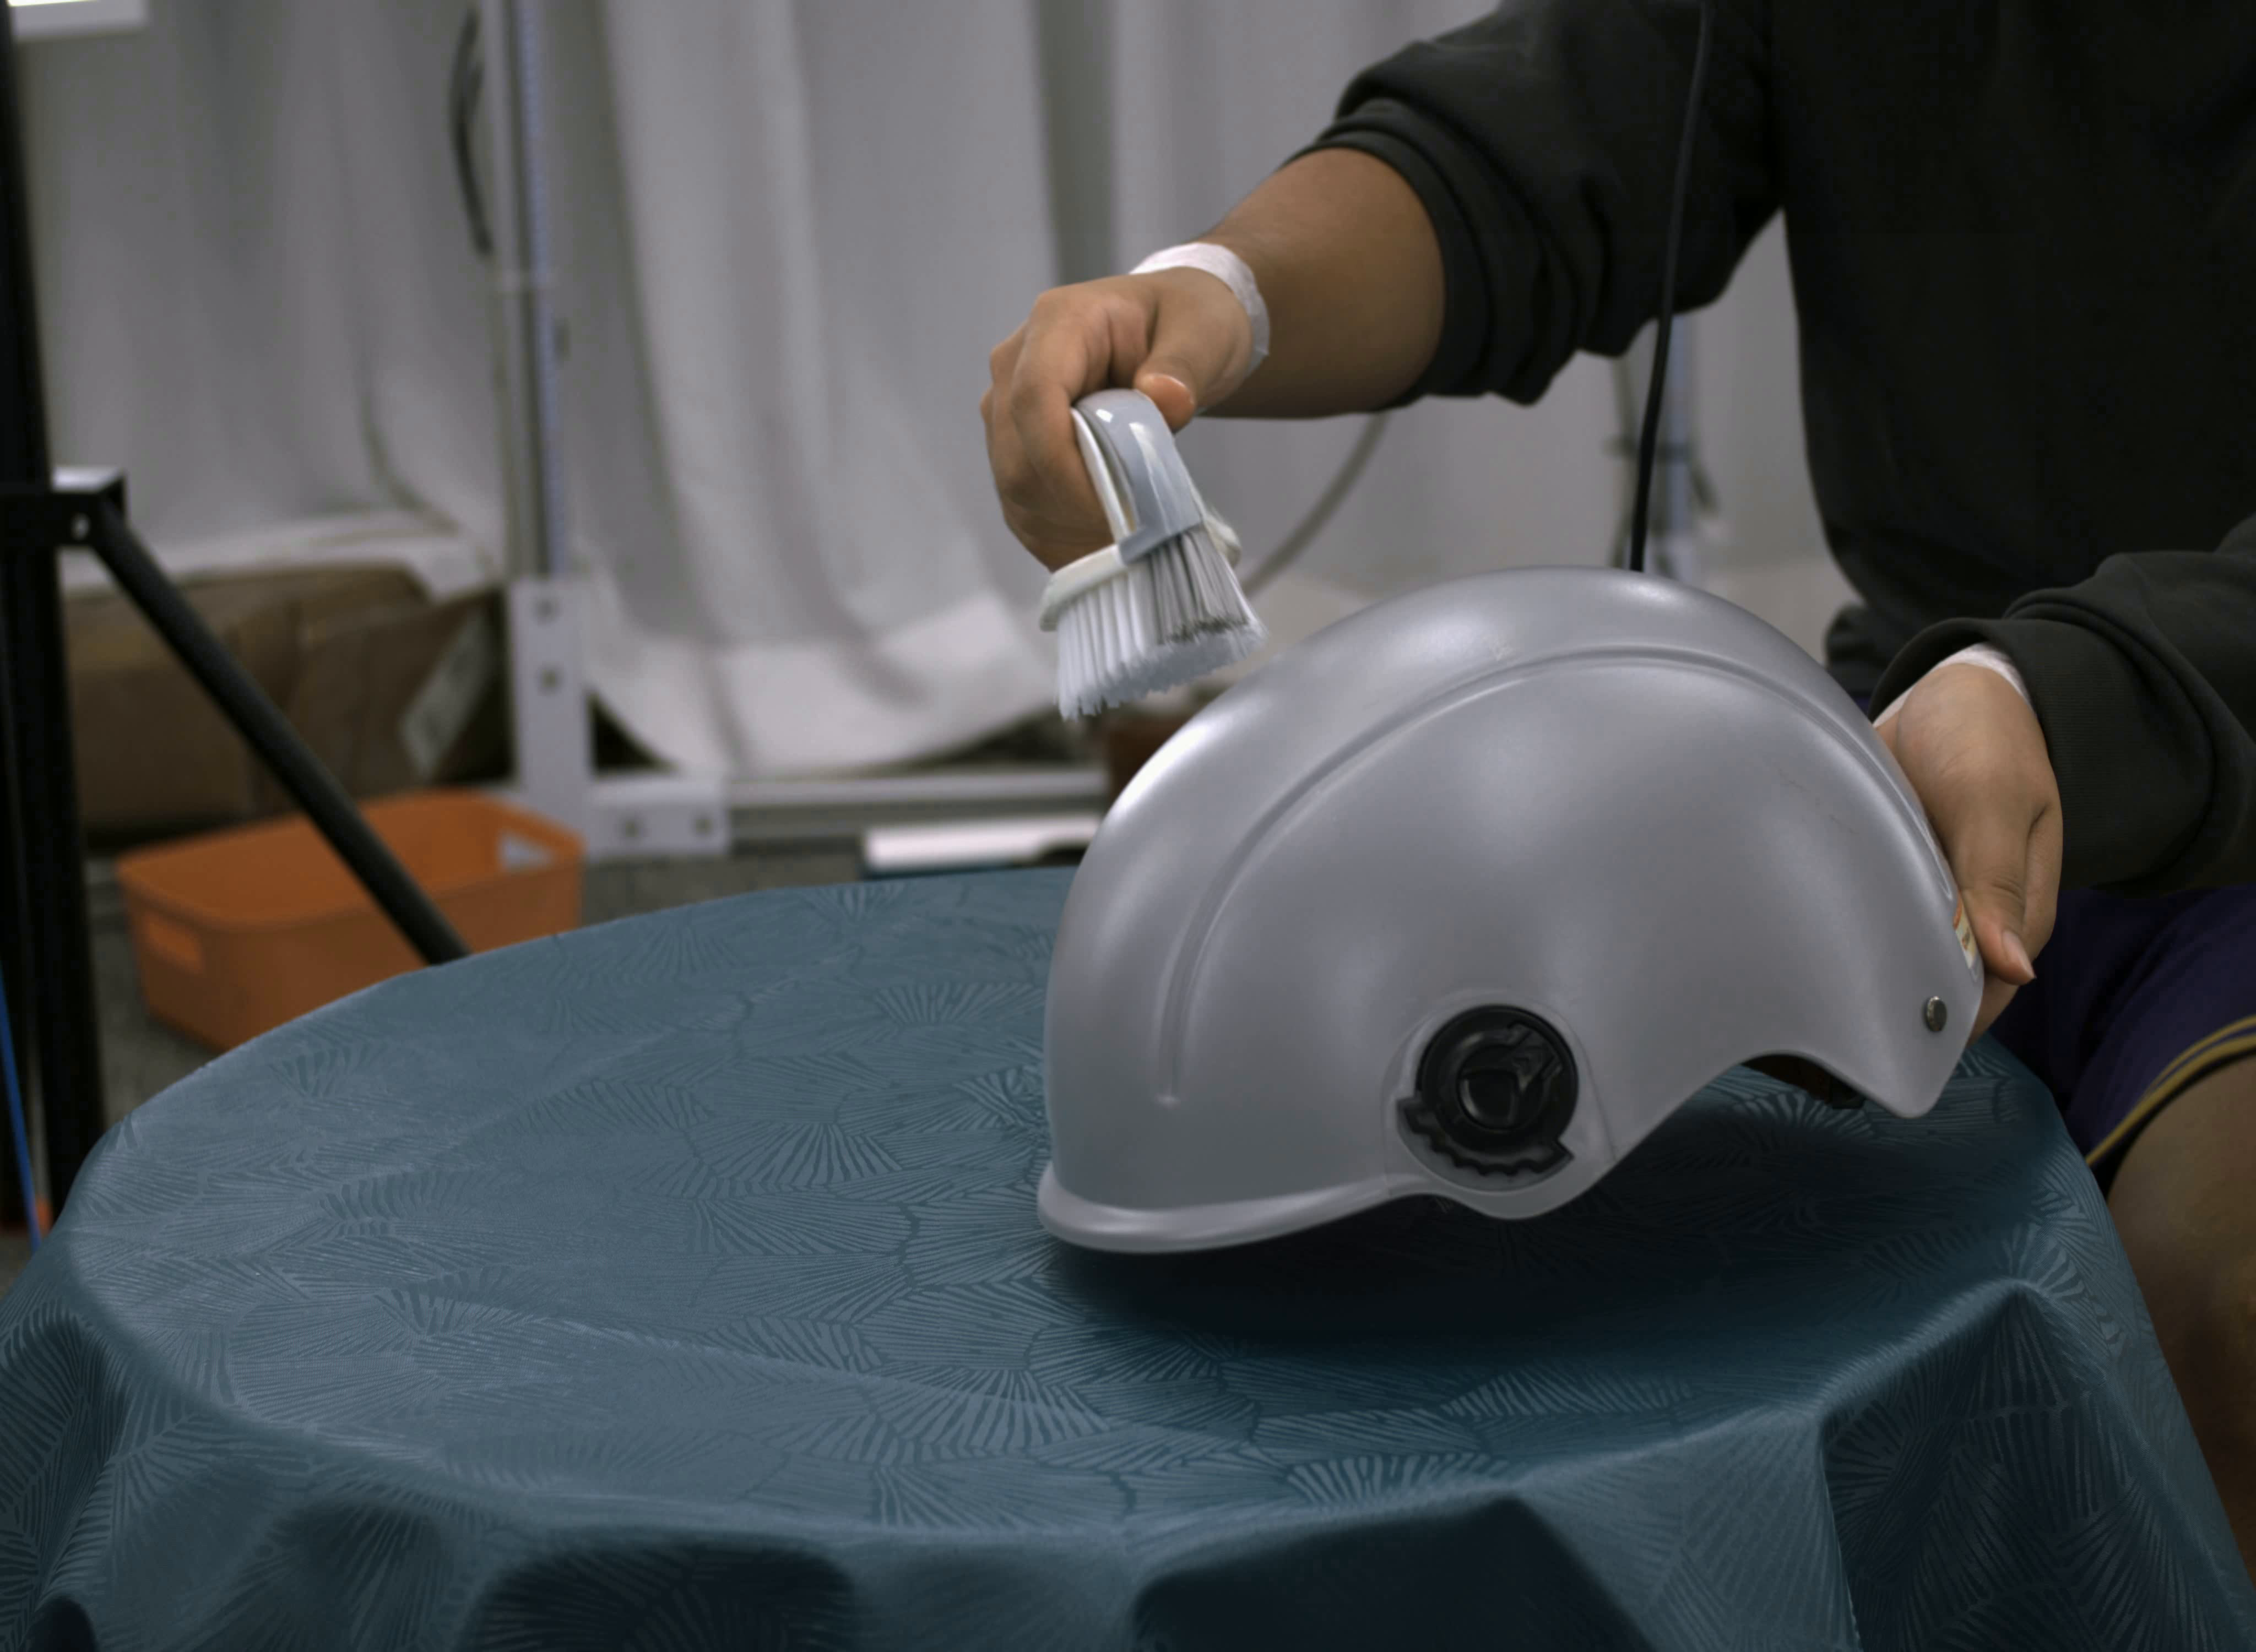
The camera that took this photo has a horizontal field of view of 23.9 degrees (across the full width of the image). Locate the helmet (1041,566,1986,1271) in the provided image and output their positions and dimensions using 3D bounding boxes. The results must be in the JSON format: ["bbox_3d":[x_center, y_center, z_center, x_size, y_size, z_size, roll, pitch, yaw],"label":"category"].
[{"bbox_3d":[0.099,0.016,1.496,0.273,0.169,0.234,-11,9,-10],"label":"helmet"}]

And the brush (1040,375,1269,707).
[{"bbox_3d":[0.005,-0.092,1.609,0.061,0.095,0.176,-16,-2,-7],"label":"brush"}]
